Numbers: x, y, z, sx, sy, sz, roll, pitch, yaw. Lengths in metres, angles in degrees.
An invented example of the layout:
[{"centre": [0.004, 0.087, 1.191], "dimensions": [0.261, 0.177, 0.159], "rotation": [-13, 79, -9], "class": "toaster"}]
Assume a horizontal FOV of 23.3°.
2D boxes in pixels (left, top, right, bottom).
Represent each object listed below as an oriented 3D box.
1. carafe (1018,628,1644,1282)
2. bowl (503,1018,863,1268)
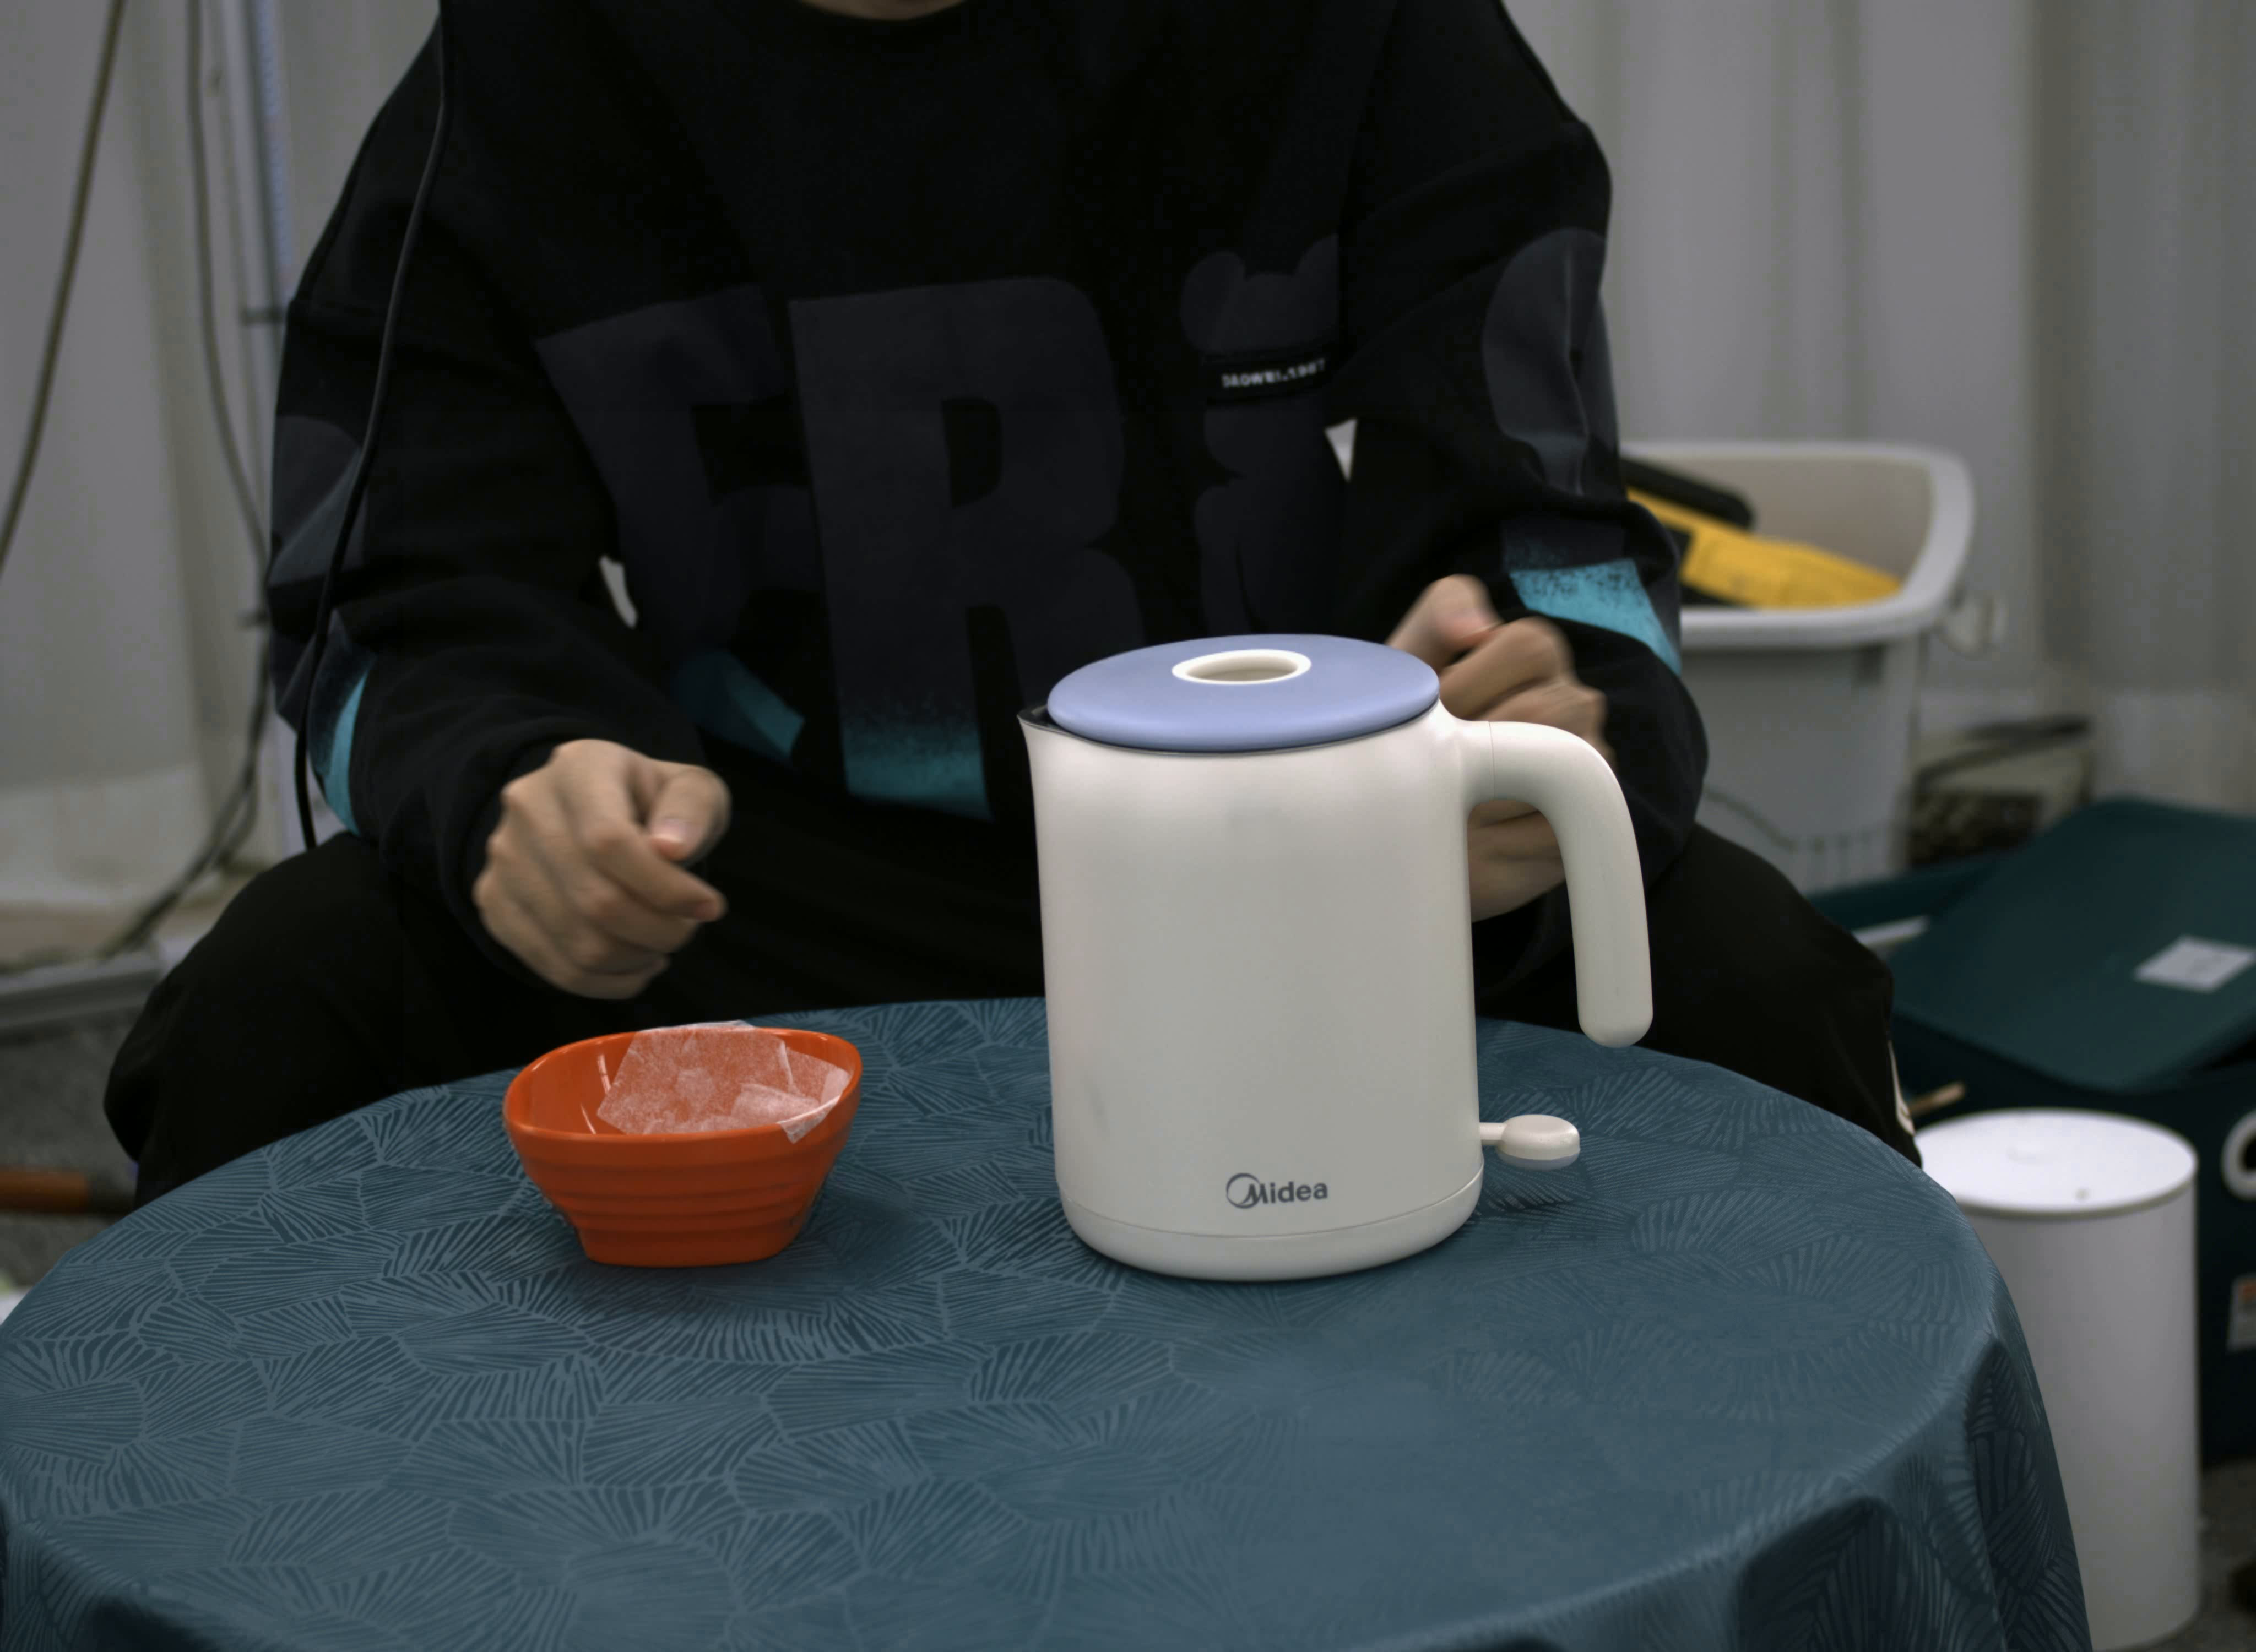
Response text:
[{"centre": [0.063, 0.037, 1.663], "dimensions": [0.190, 0.182, 0.133], "rotation": [-1, 15, -2], "class": "carafe"}, {"centre": [-0.135, 0.101, 1.691], "dimensions": [0.118, 0.051, 0.120], "rotation": [-5, 17, 1], "class": "bowl"}]
